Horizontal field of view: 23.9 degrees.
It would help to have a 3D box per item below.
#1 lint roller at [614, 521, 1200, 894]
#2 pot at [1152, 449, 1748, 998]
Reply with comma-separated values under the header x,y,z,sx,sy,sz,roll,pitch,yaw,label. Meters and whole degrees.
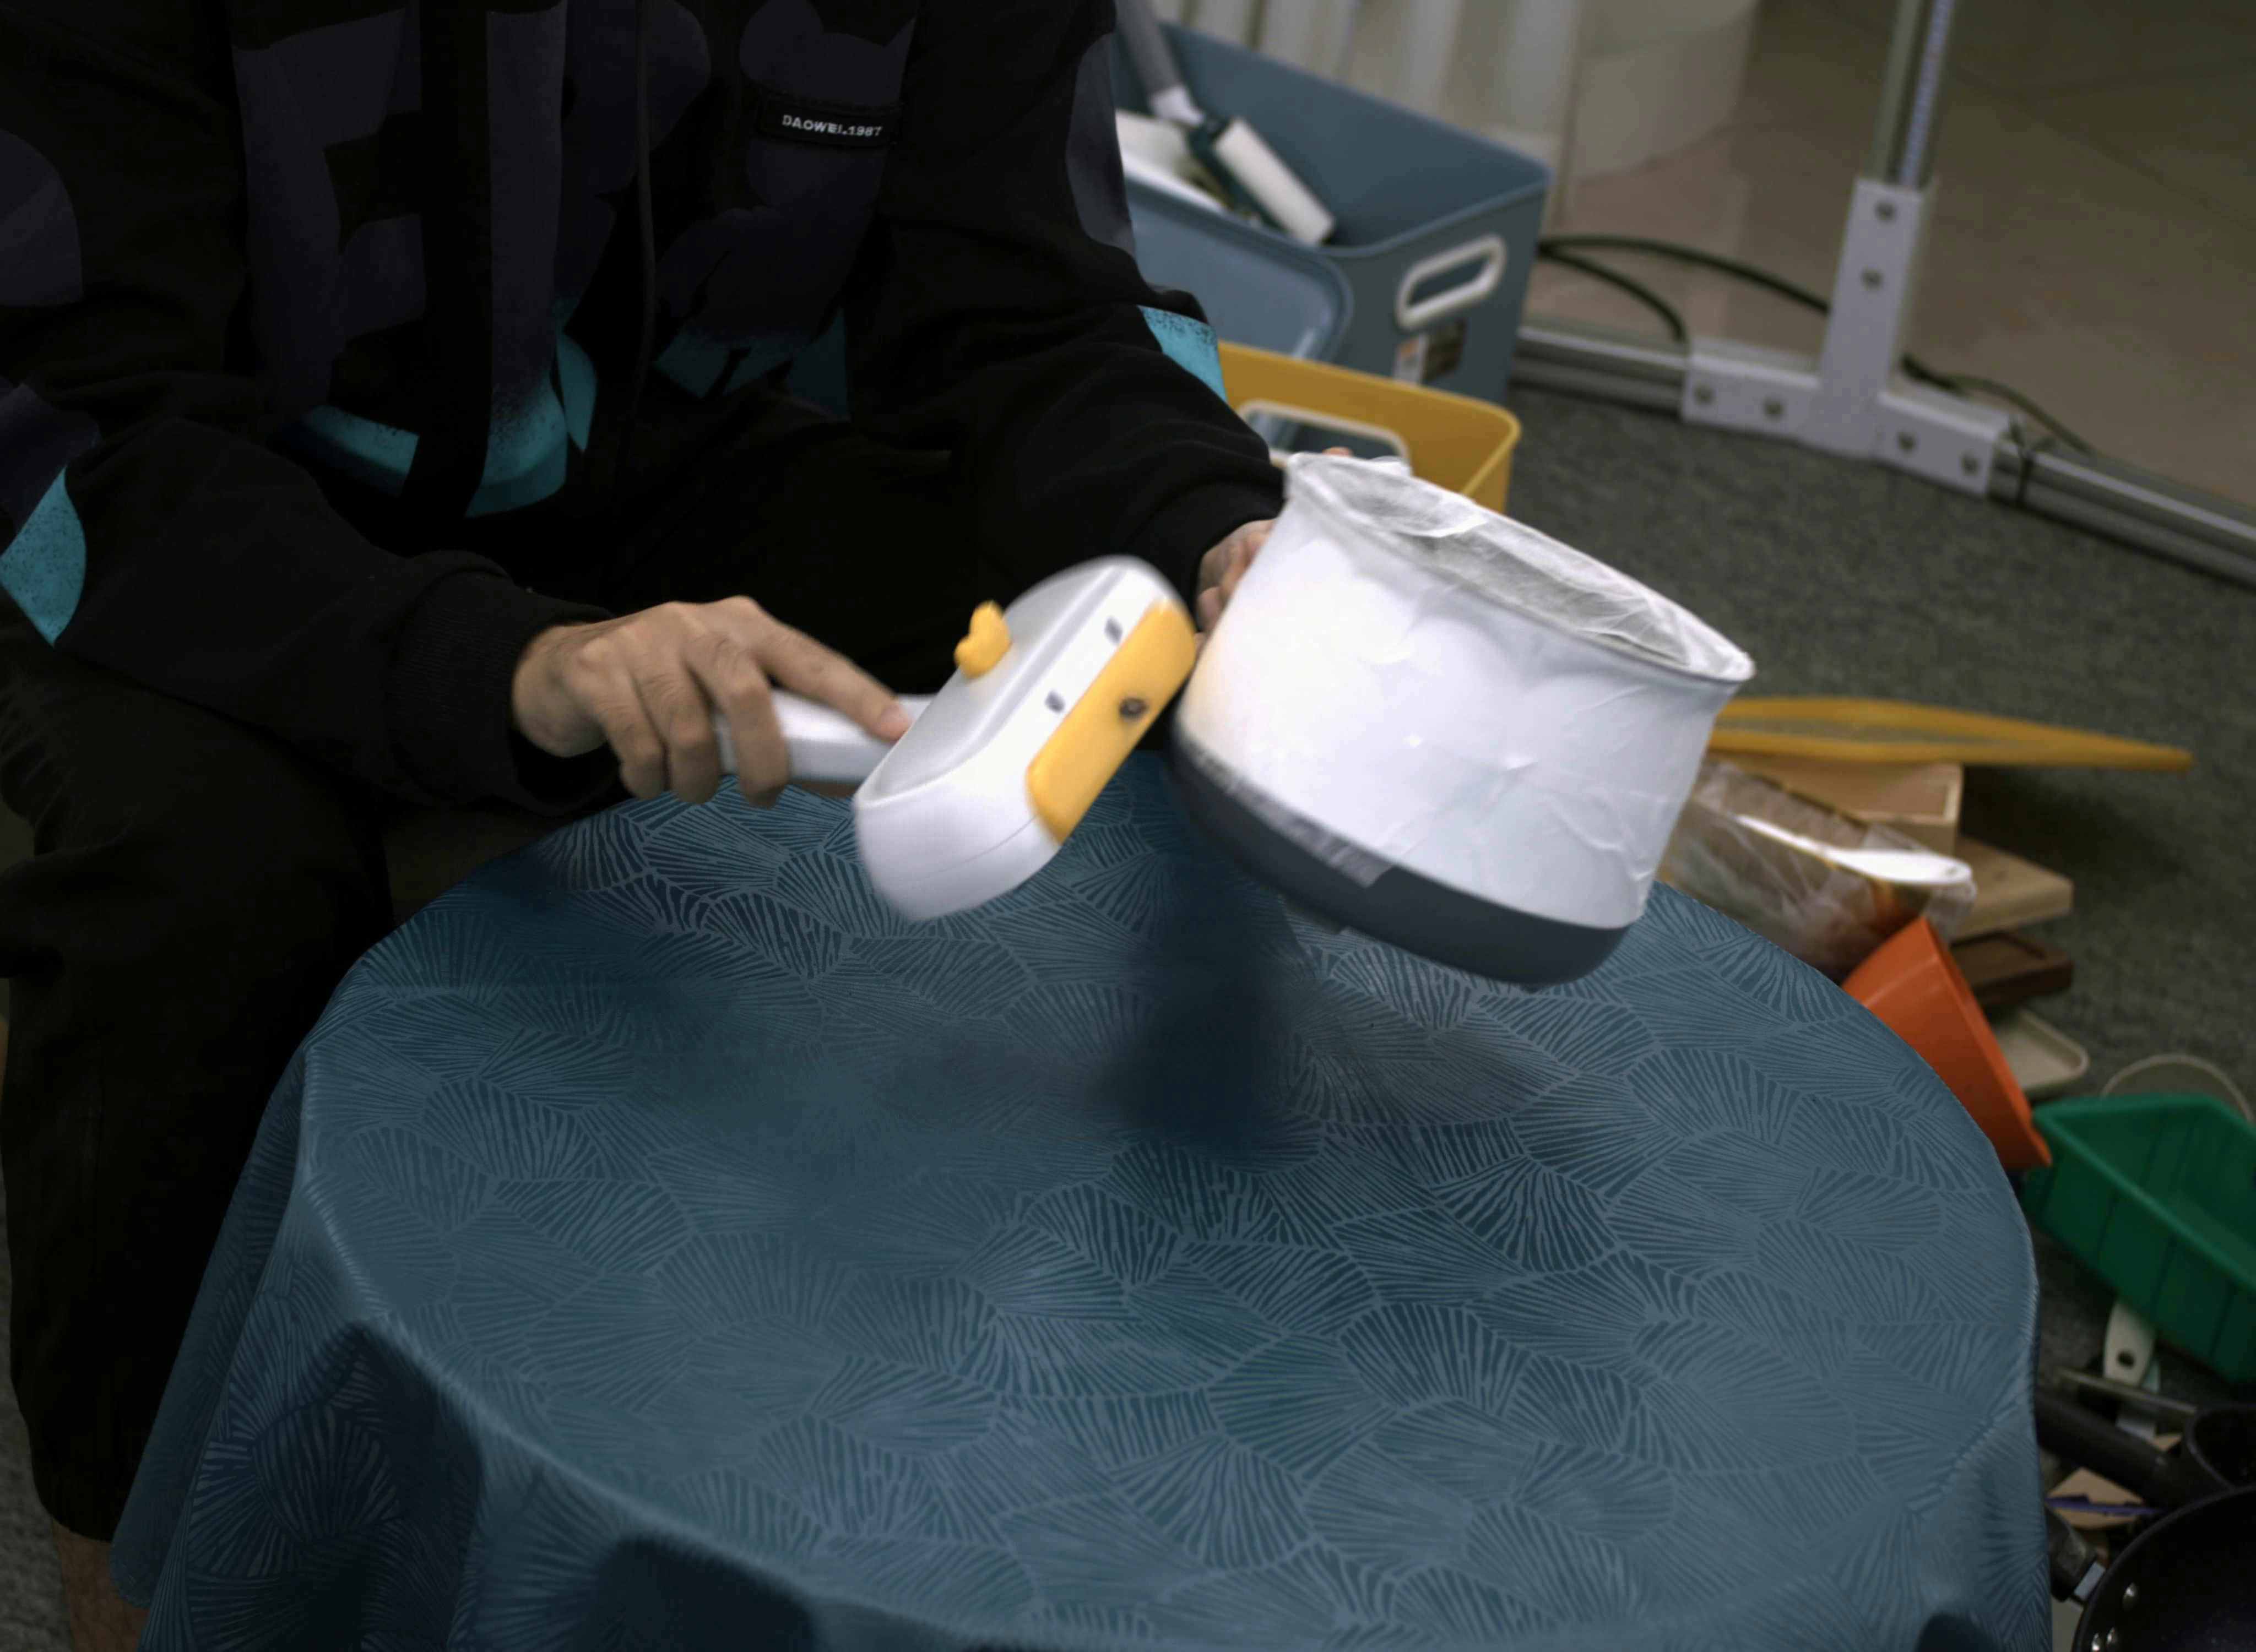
x,y,z,sx,sy,sz,roll,pitch,yaw,label
-0.085,-0.036,1.837,0.192,0.074,0.193,-12,28,23,lint roller
0.095,-0.045,1.864,0.177,0.136,0.236,18,15,-31,pot
